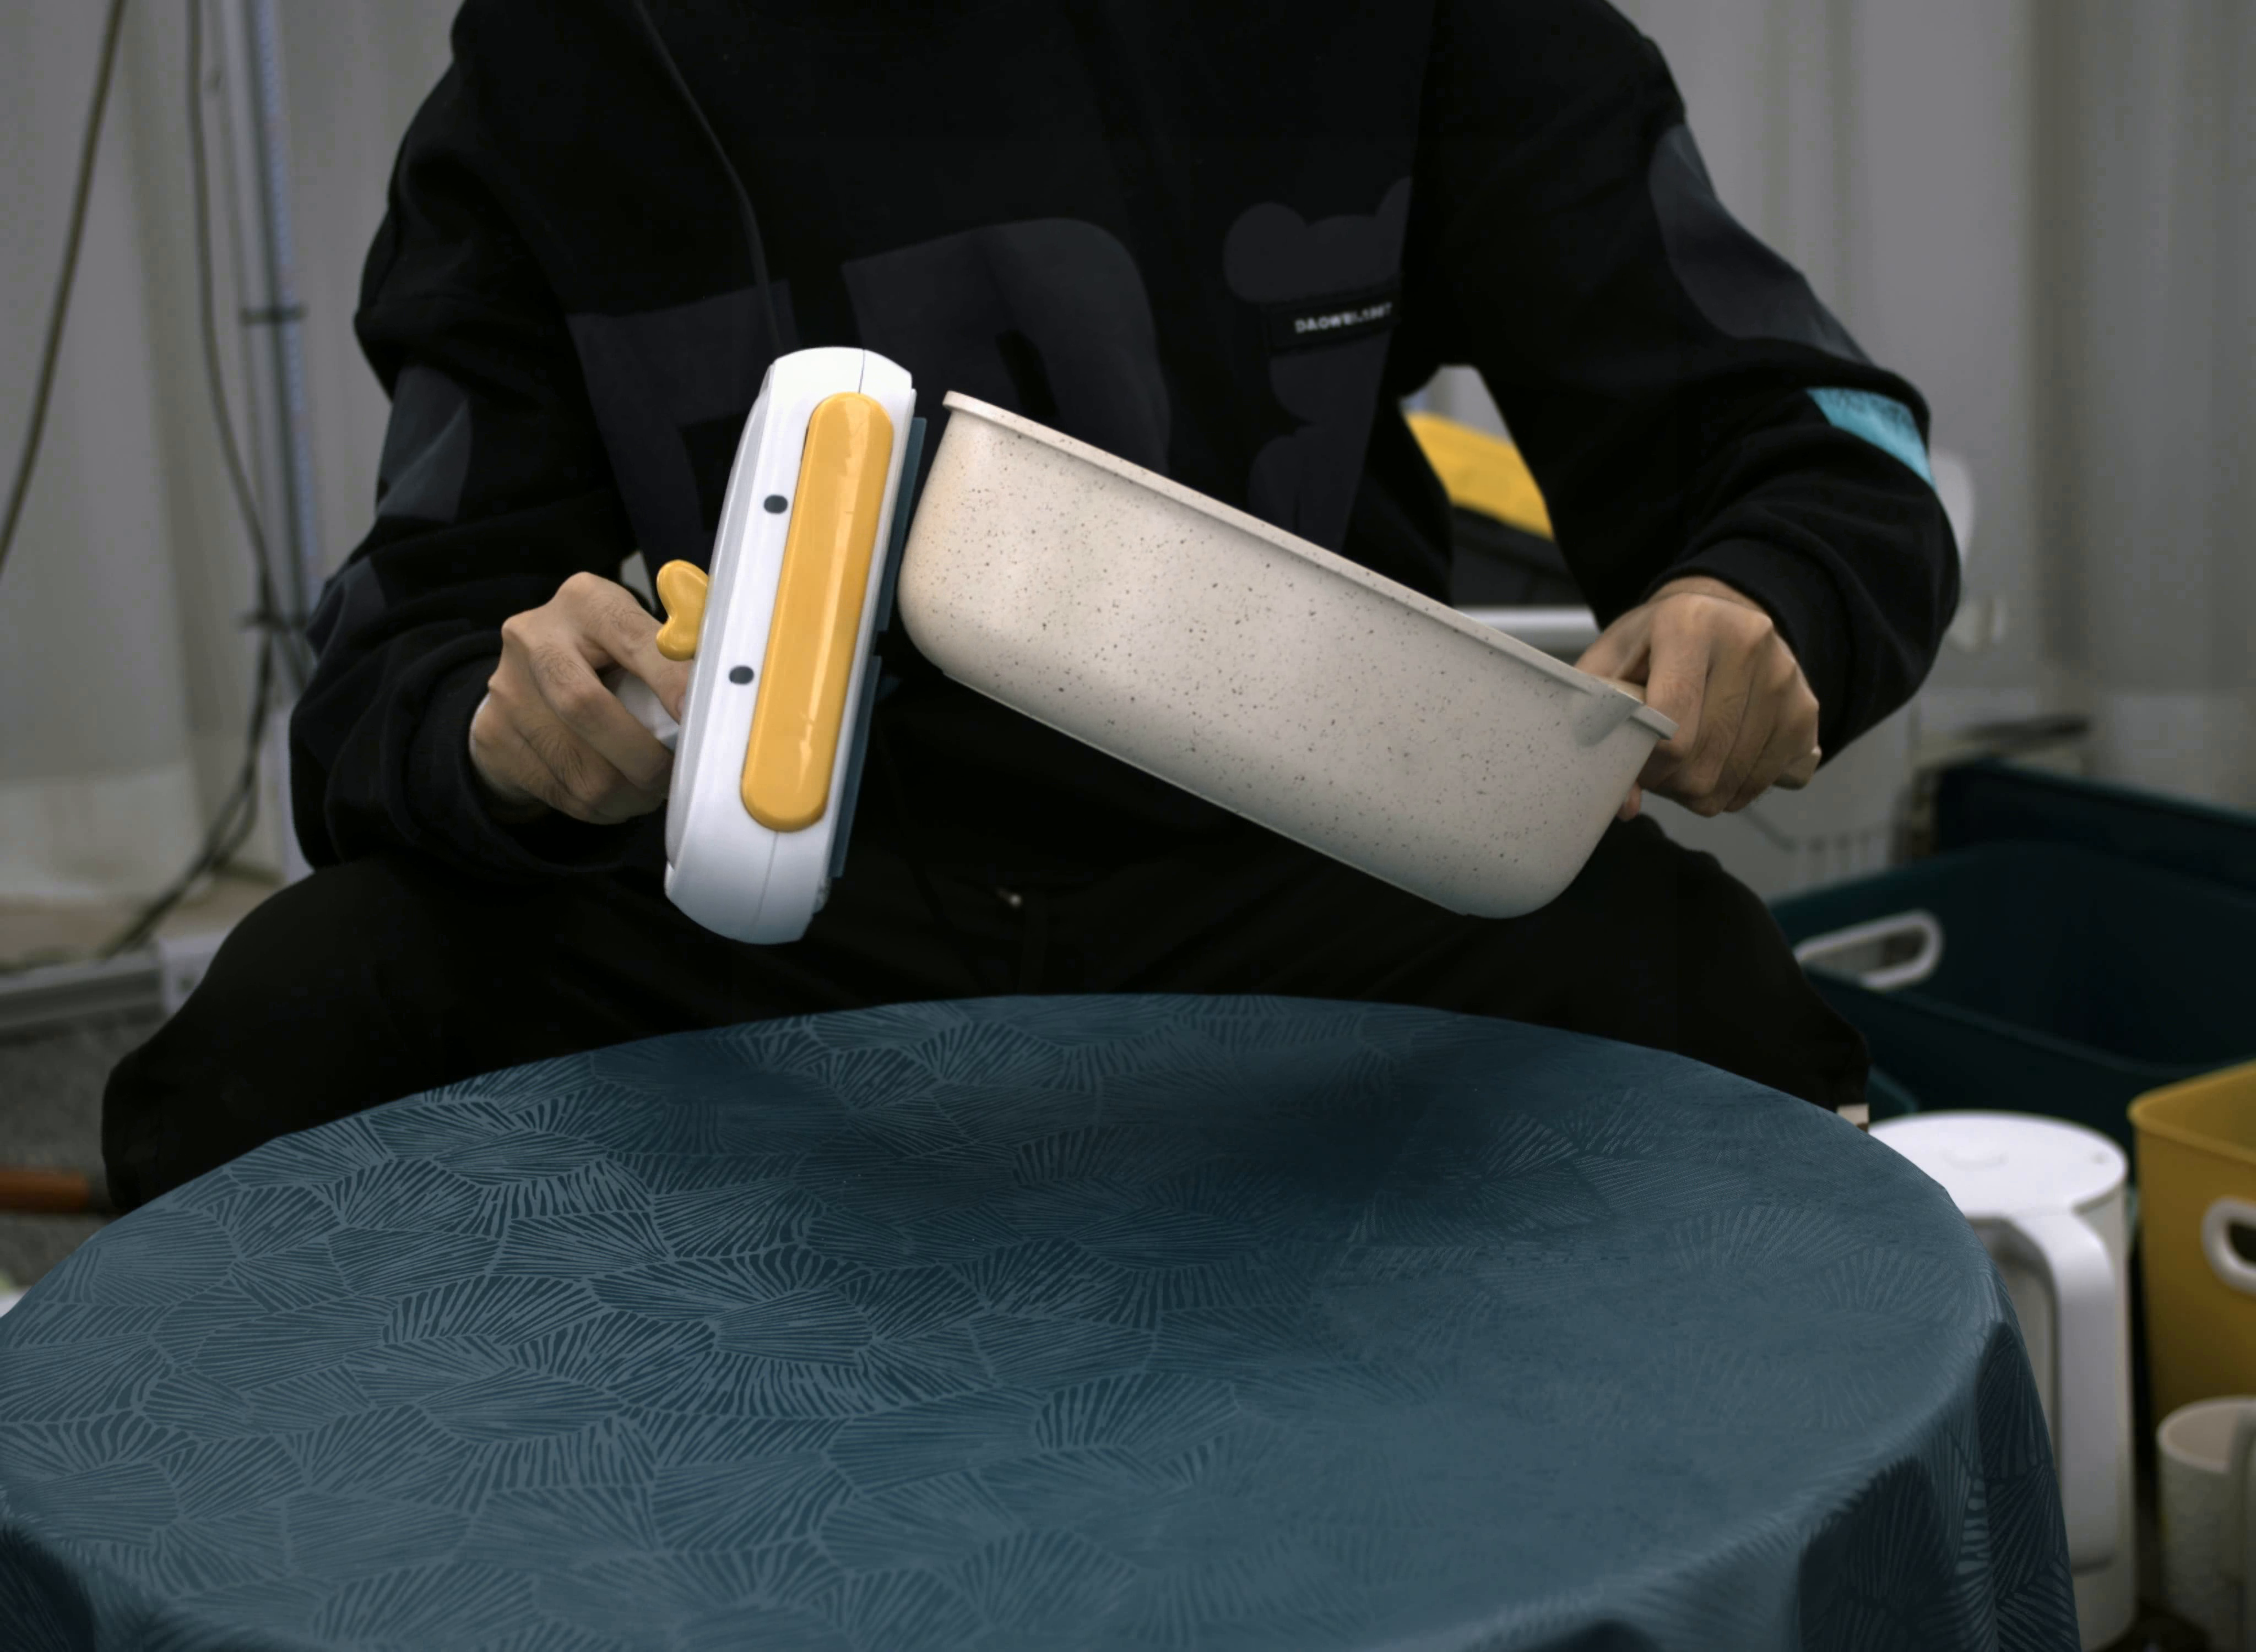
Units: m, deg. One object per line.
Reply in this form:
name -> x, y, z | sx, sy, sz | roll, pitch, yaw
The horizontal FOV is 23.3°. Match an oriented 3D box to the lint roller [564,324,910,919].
lint roller -> -0.130, -0.047, 1.761 | 0.073, 0.195, 0.191 | 10, -23, -17

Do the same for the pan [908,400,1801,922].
pan -> 0.098, -0.030, 1.781 | 0.265, 0.102, 0.430 | 23, 0, 37
